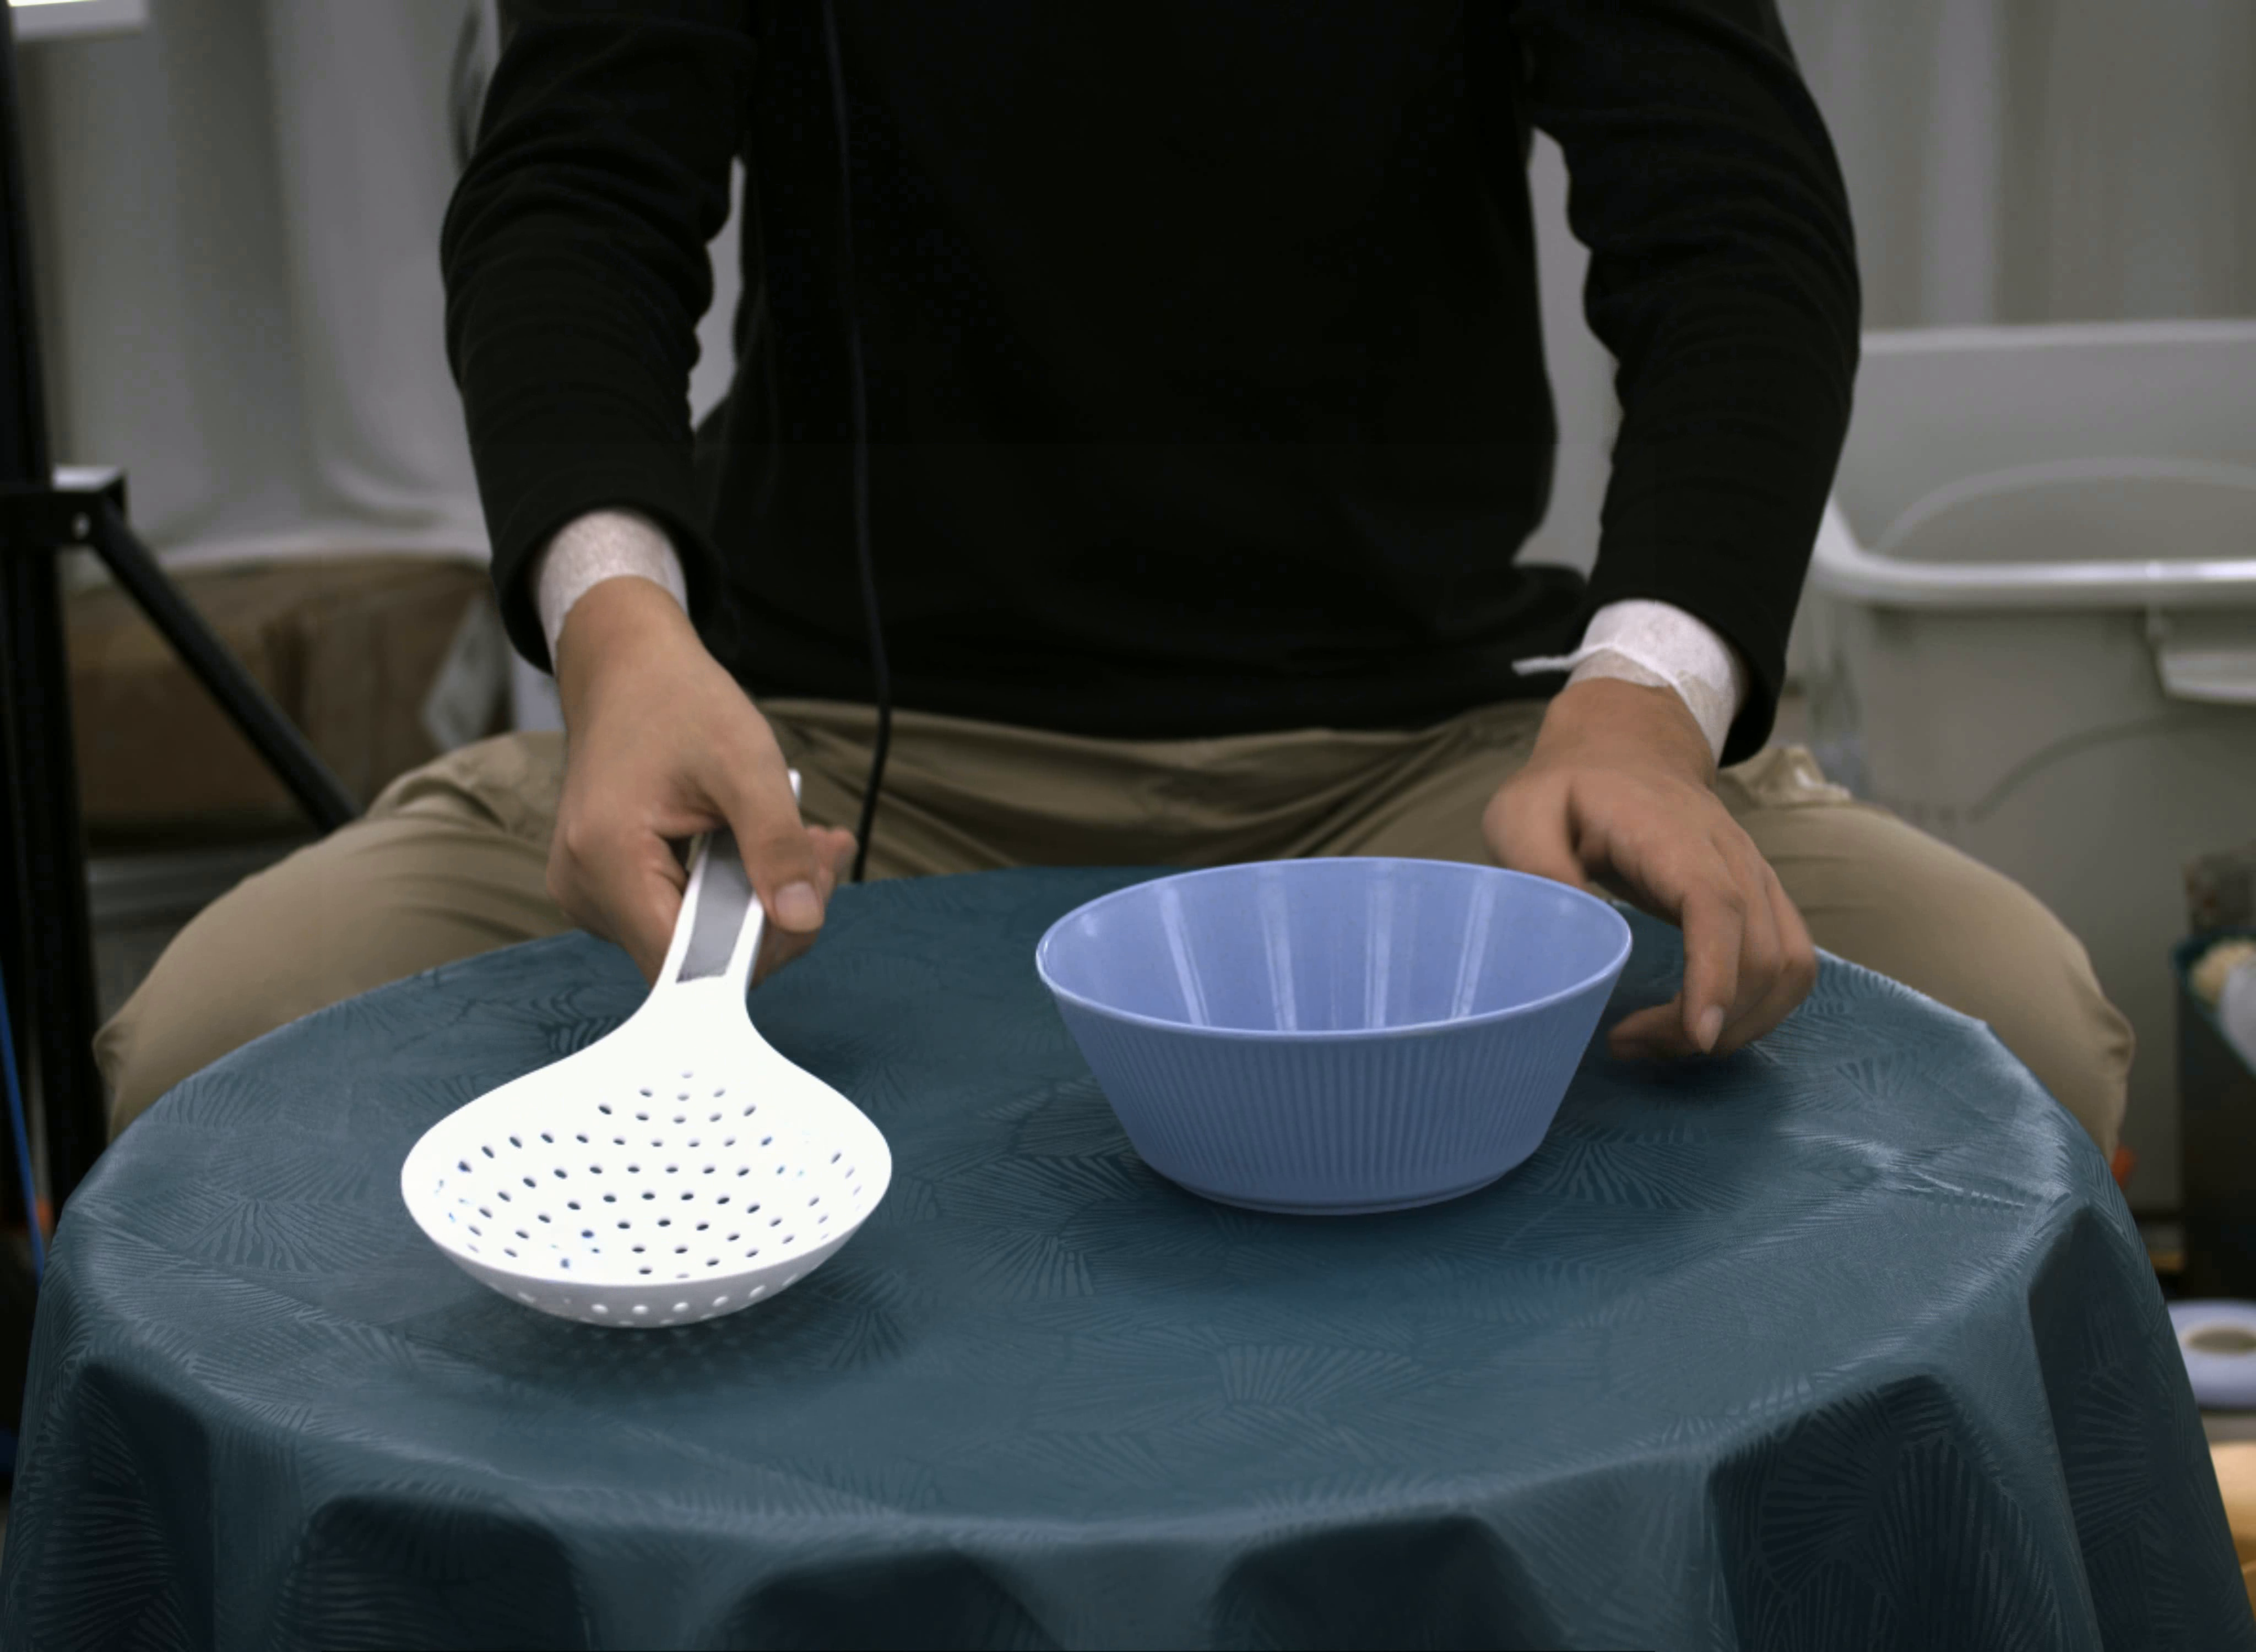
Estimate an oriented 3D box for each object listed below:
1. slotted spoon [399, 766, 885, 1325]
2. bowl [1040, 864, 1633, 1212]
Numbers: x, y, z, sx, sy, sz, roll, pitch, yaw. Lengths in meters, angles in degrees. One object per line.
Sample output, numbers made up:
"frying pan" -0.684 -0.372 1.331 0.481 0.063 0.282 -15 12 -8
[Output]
"slotted spoon" -0.130 0.057 1.580 0.136 0.045 0.351 -1 28 4
"bowl" 0.062 0.065 1.572 0.175 0.070 0.177 -3 14 -1
